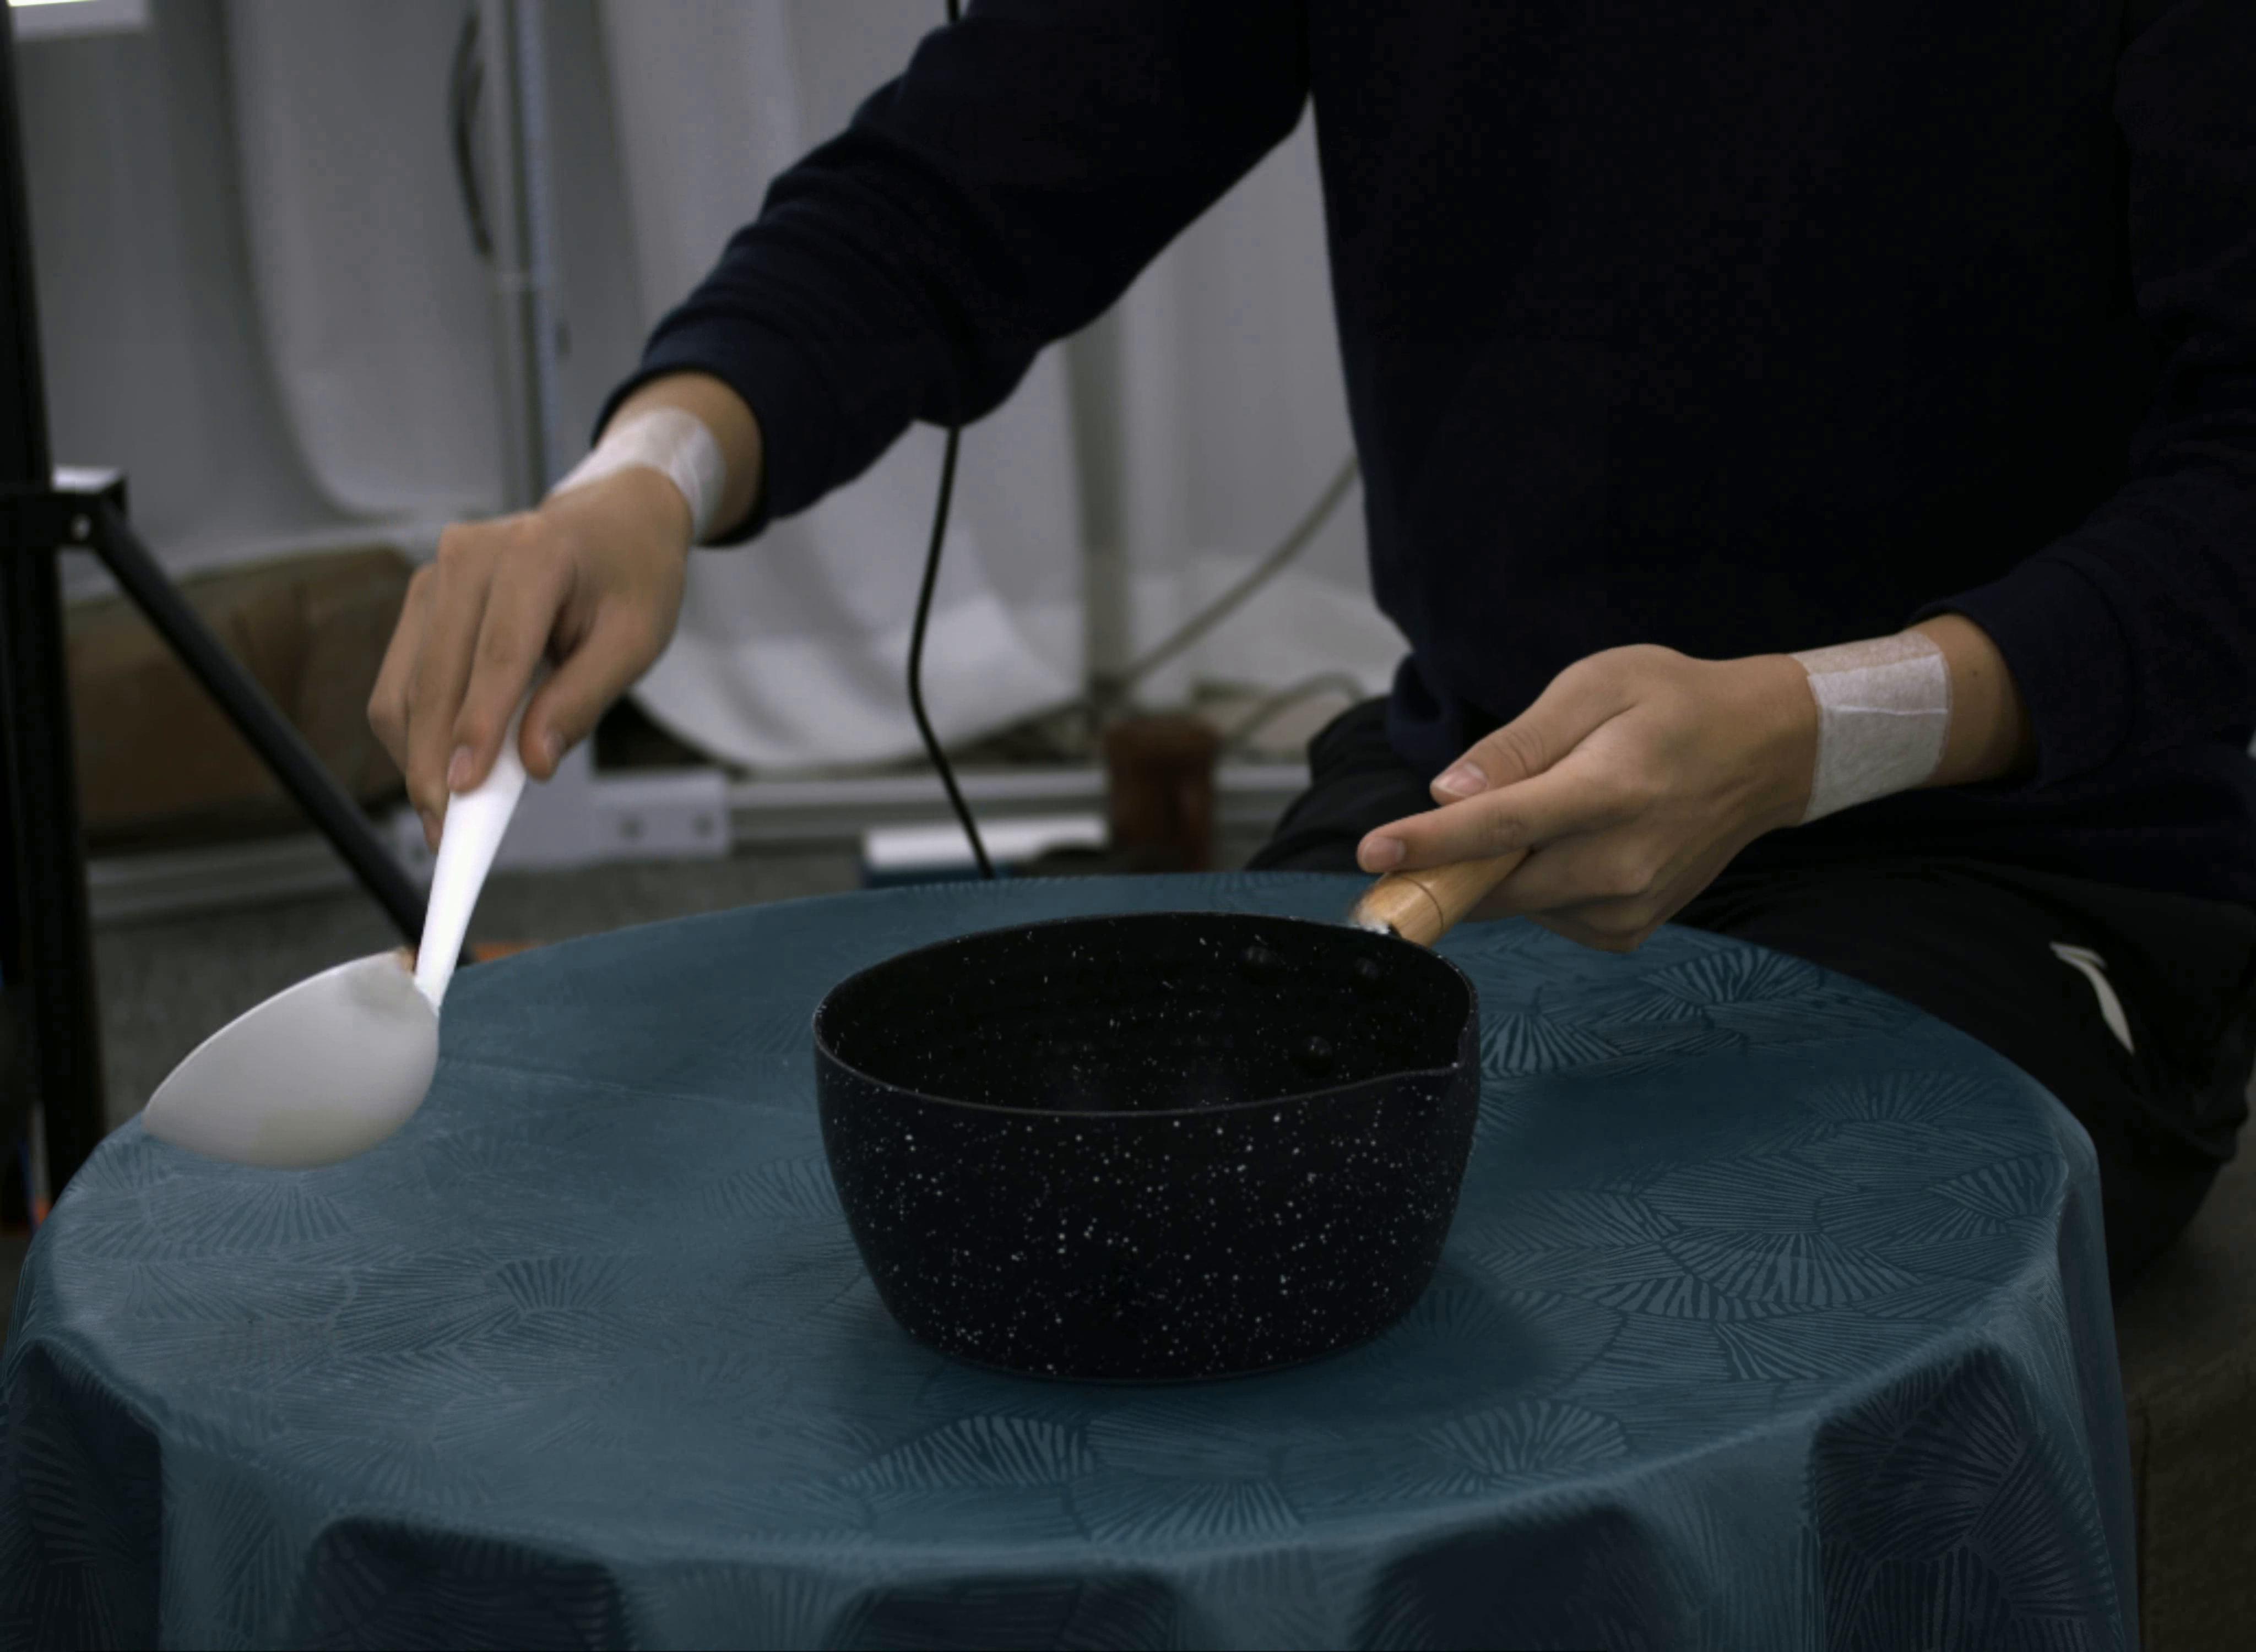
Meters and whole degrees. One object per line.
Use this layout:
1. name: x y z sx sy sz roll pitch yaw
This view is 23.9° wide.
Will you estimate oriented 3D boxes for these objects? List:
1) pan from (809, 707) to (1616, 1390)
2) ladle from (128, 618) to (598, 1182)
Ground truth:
1. pan: 0.048 0.059 1.526 0.211 0.108 0.336 7 19 33
2. ladle: -0.217 0.011 1.578 0.069 0.091 0.293 35 30 -12
